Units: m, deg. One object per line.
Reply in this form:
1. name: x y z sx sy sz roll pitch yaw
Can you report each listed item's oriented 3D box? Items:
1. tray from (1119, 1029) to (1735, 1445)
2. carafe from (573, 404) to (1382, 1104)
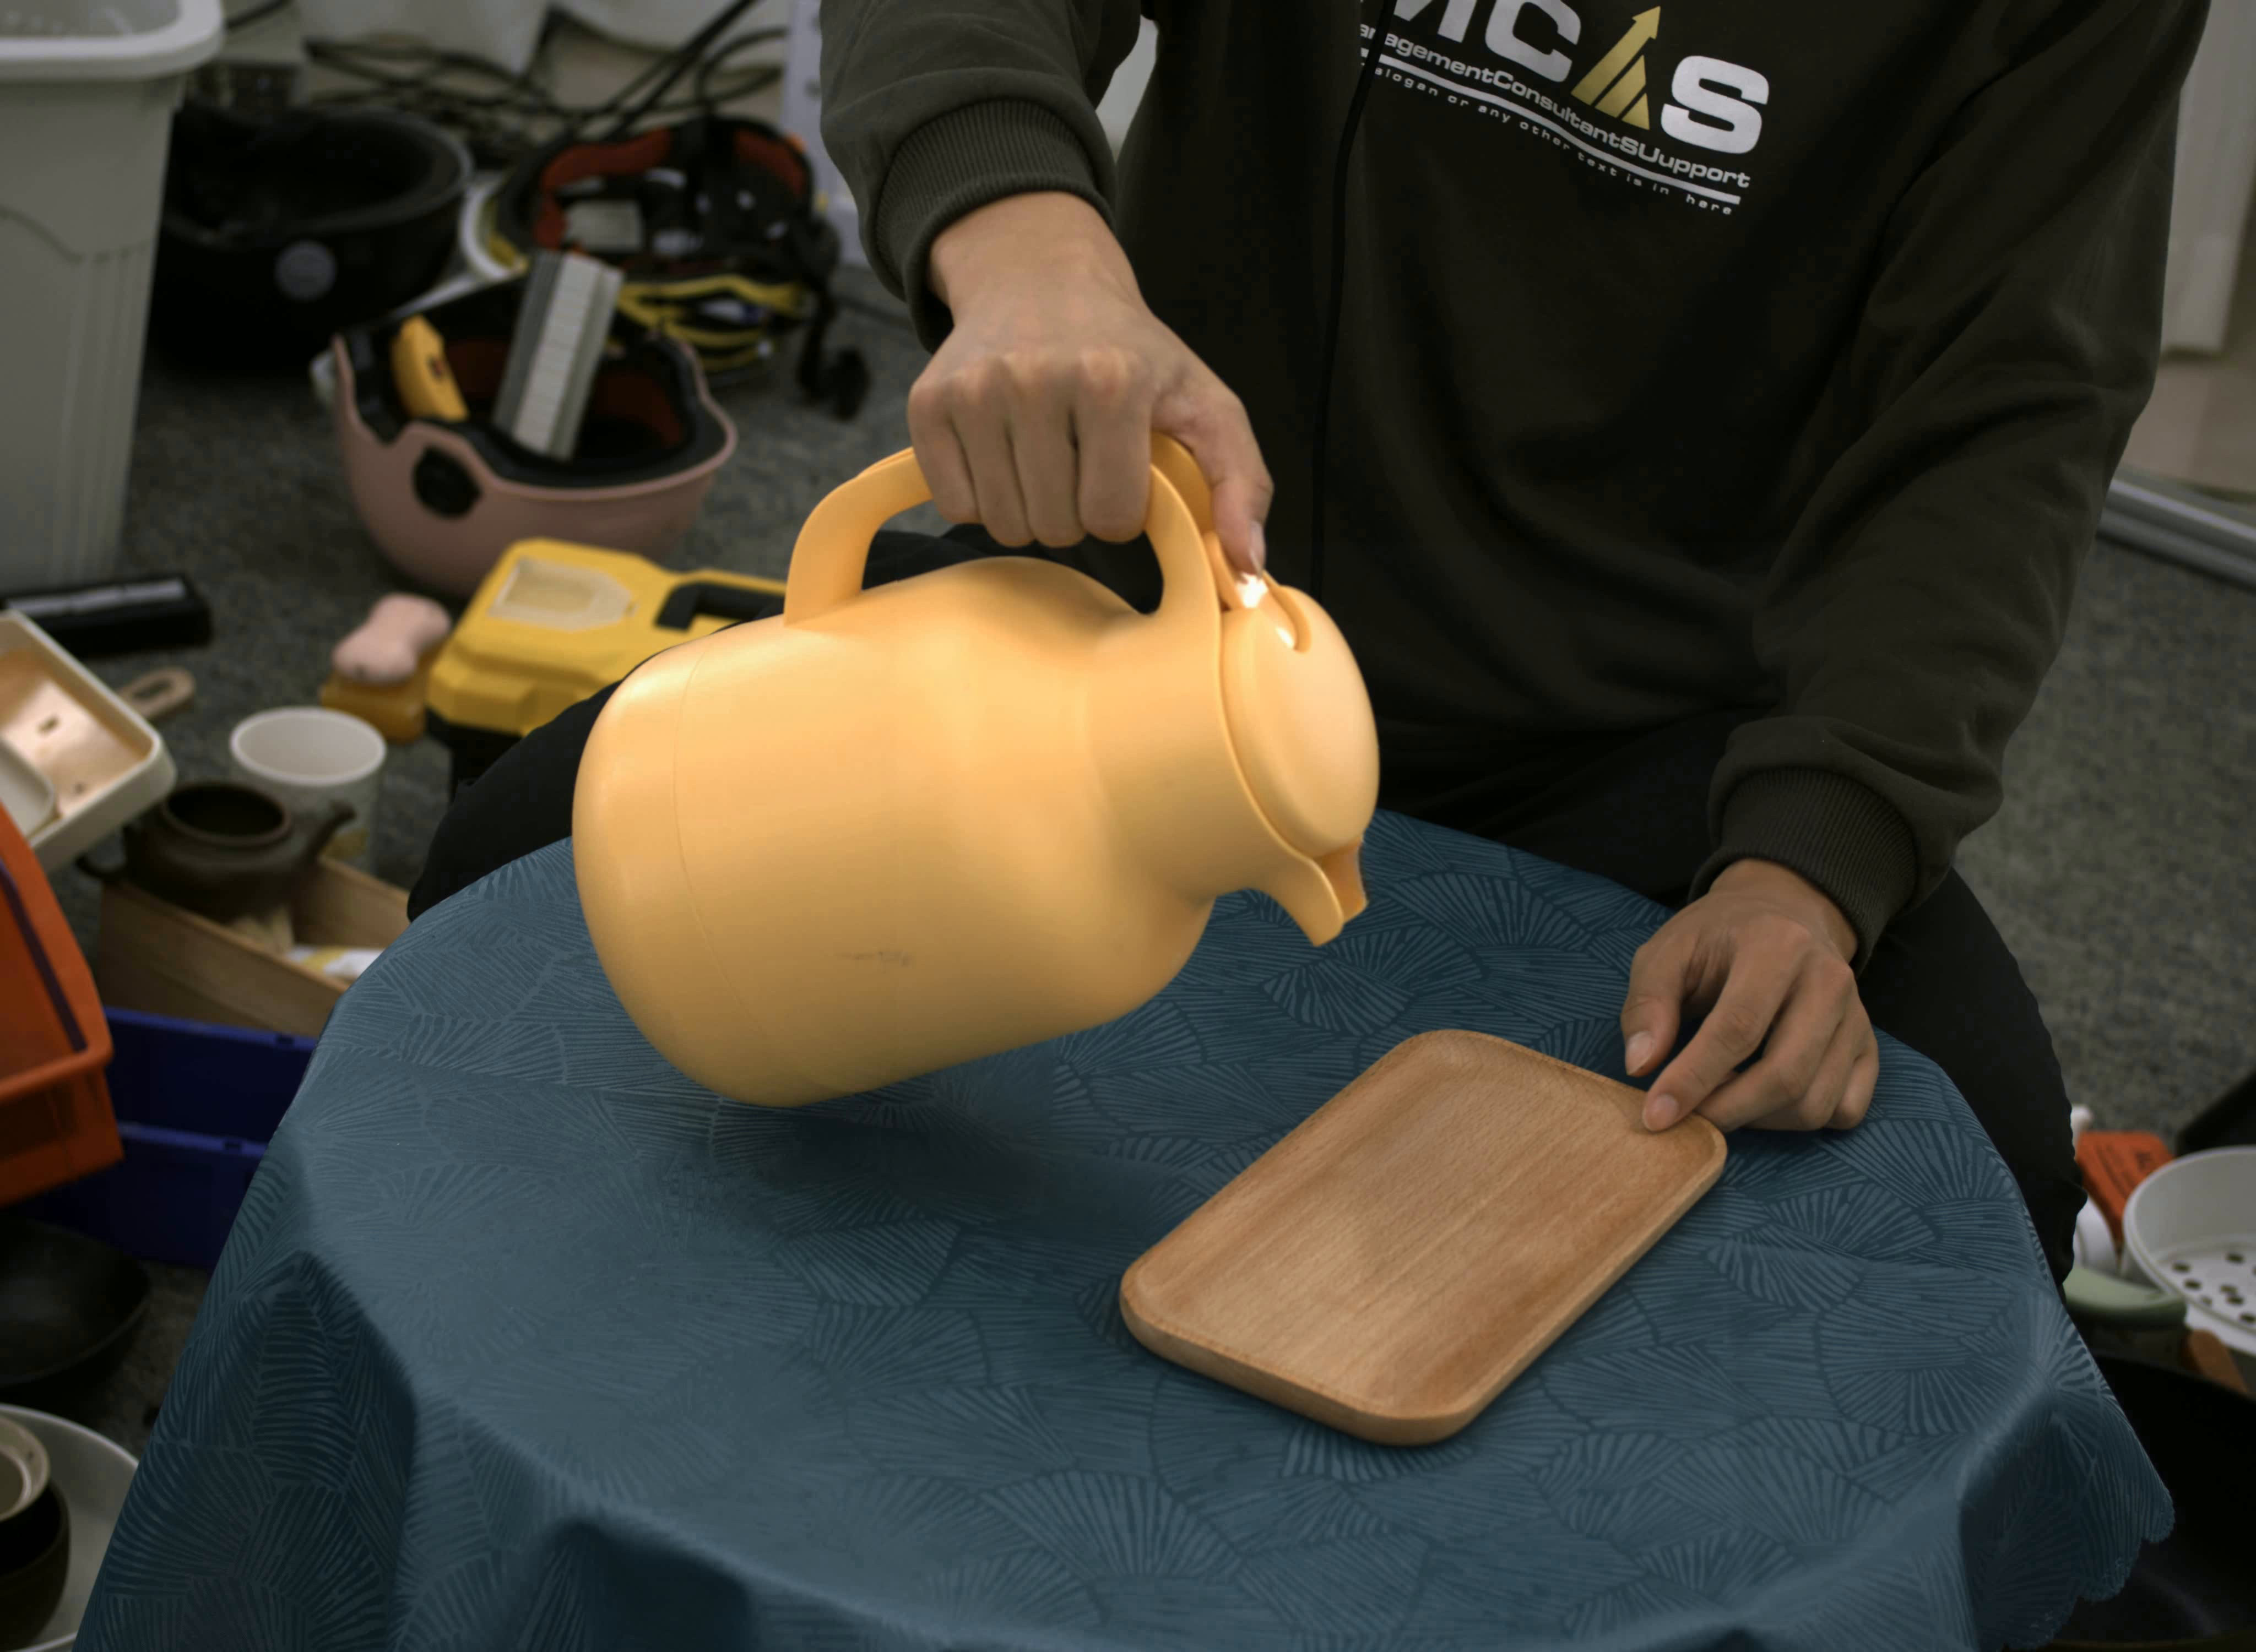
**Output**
1. tray: 0.103 0.136 1.790 0.131 0.023 0.250 23 30 24
2. carafe: -0.051 -0.026 1.763 0.261 0.202 0.163 -15 9 25
